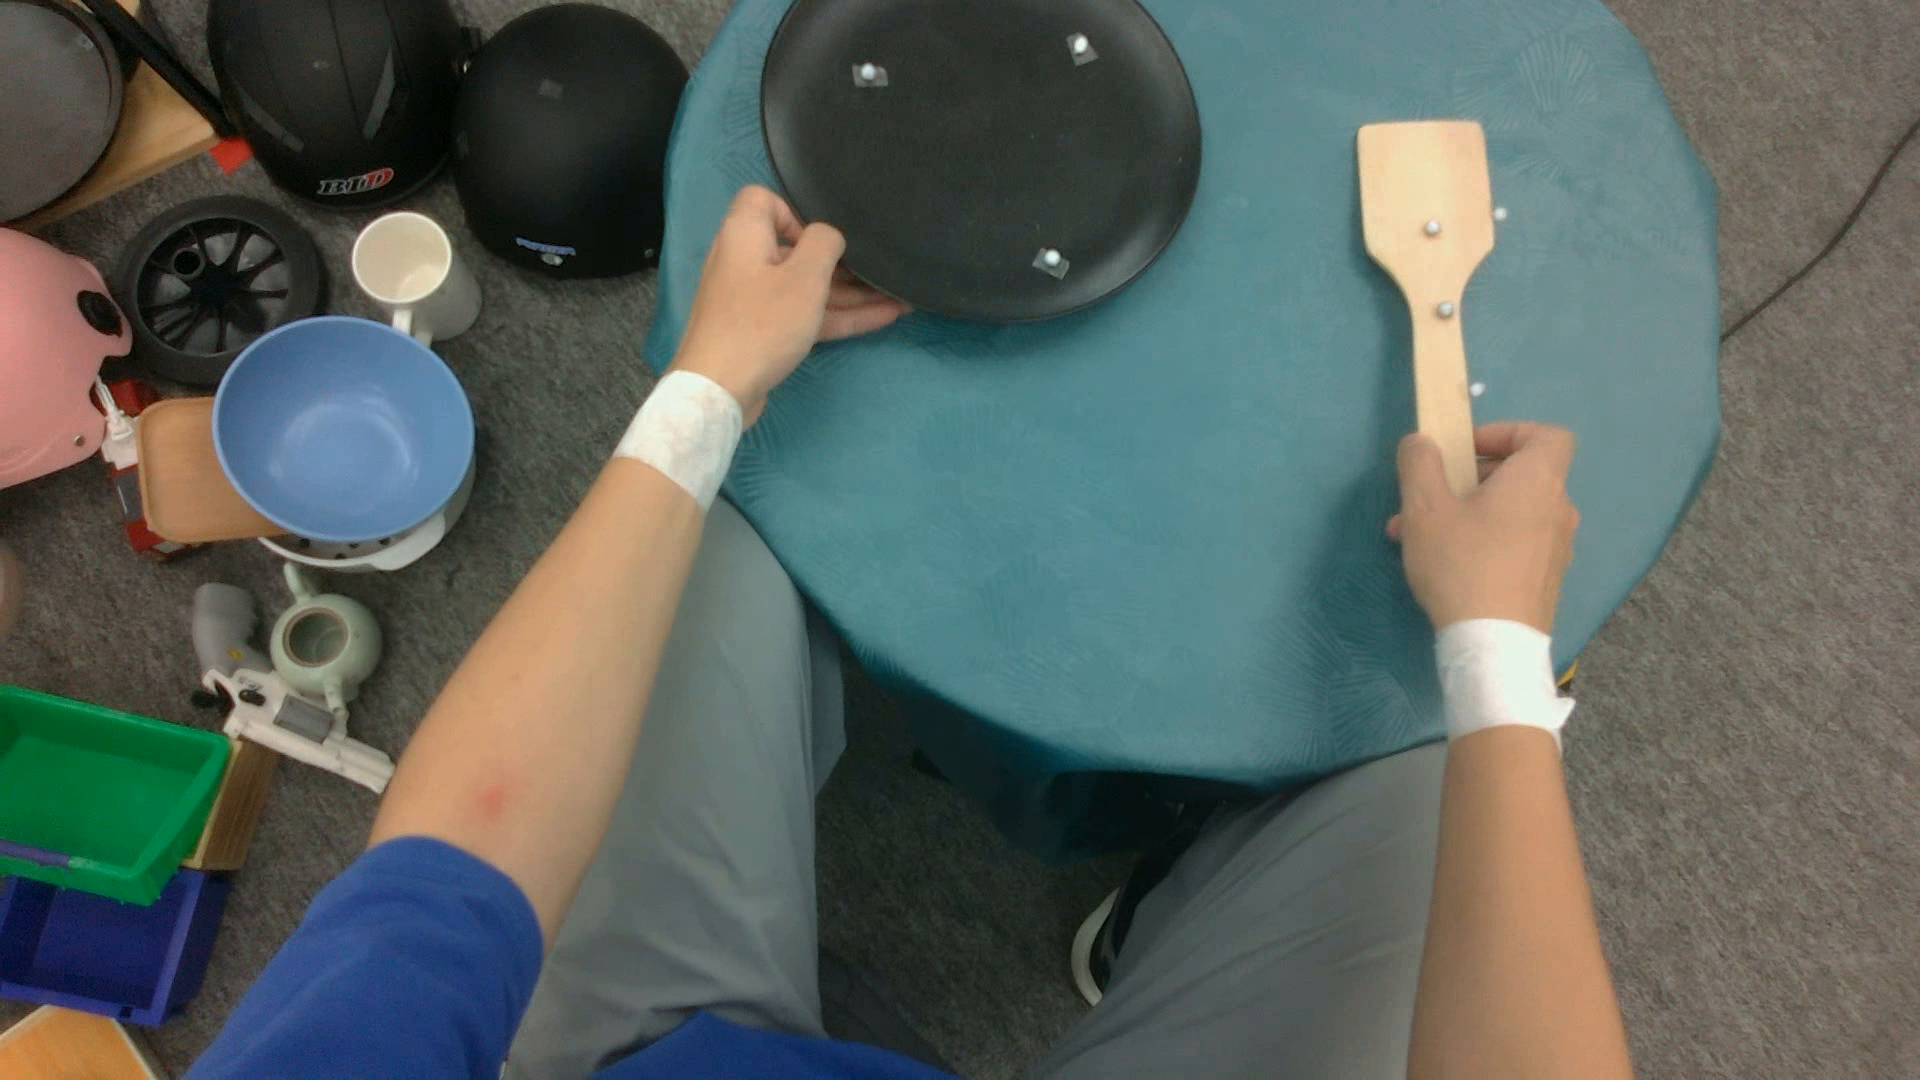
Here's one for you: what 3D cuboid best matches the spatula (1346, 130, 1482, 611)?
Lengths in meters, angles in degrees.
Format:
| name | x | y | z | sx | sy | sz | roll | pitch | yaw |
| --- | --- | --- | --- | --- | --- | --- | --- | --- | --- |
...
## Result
| name | x | y | z | sx | sy | sz | roll | pitch | yaw |
| --- | --- | --- | --- | --- | --- | --- | --- | --- | --- |
| spatula | 0.256 | -0.100 | 0.748 | 0.072 | 0.010 | 0.294 | -2 | 68 | 10 |

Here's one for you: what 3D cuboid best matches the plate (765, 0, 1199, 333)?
| name | x | y | z | sx | sy | sz | roll | pitch | yaw |
| --- | --- | --- | --- | --- | --- | --- | --- | --- | --- |
| plate | 0.014 | -0.225 | 0.770 | 0.244 | 0.023 | 0.245 | 3 | 73 | -9 |
